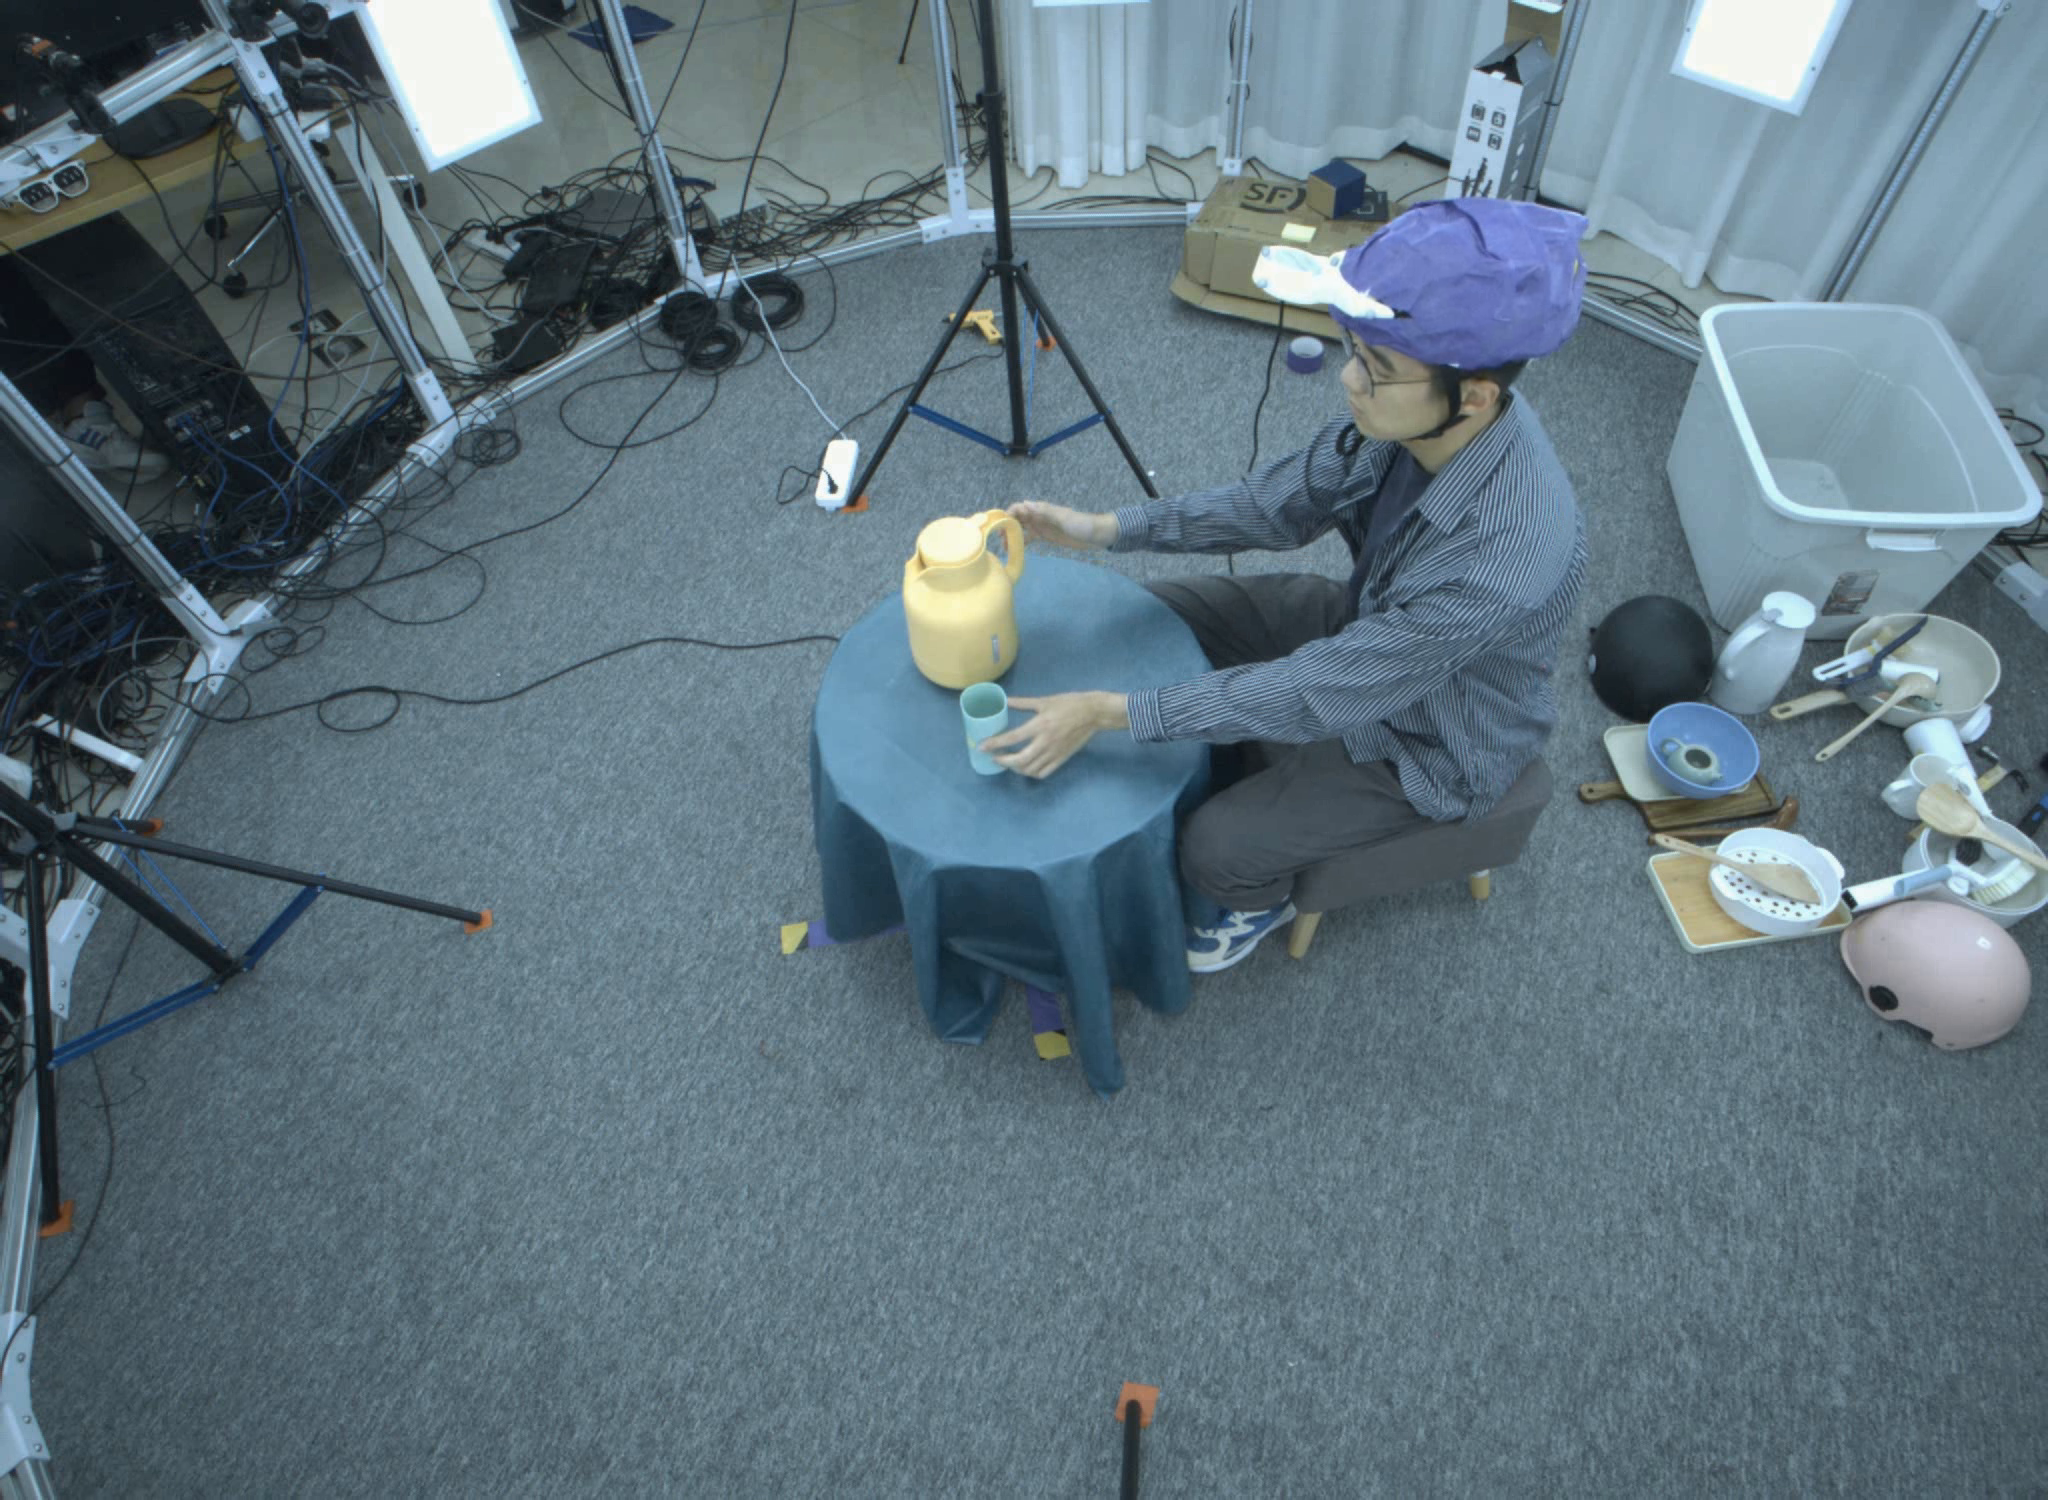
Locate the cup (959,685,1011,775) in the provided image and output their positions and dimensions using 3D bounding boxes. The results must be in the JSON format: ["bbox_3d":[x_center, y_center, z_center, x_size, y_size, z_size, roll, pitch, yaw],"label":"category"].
[{"bbox_3d":[-0.052,-0.027,1.736,0.066,0.134,0.066,-1,54,3],"label":"cup"}]

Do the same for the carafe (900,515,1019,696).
[{"bbox_3d":[-0.084,-0.219,1.790,0.160,0.263,0.204,38,65,25],"label":"carafe"}]
